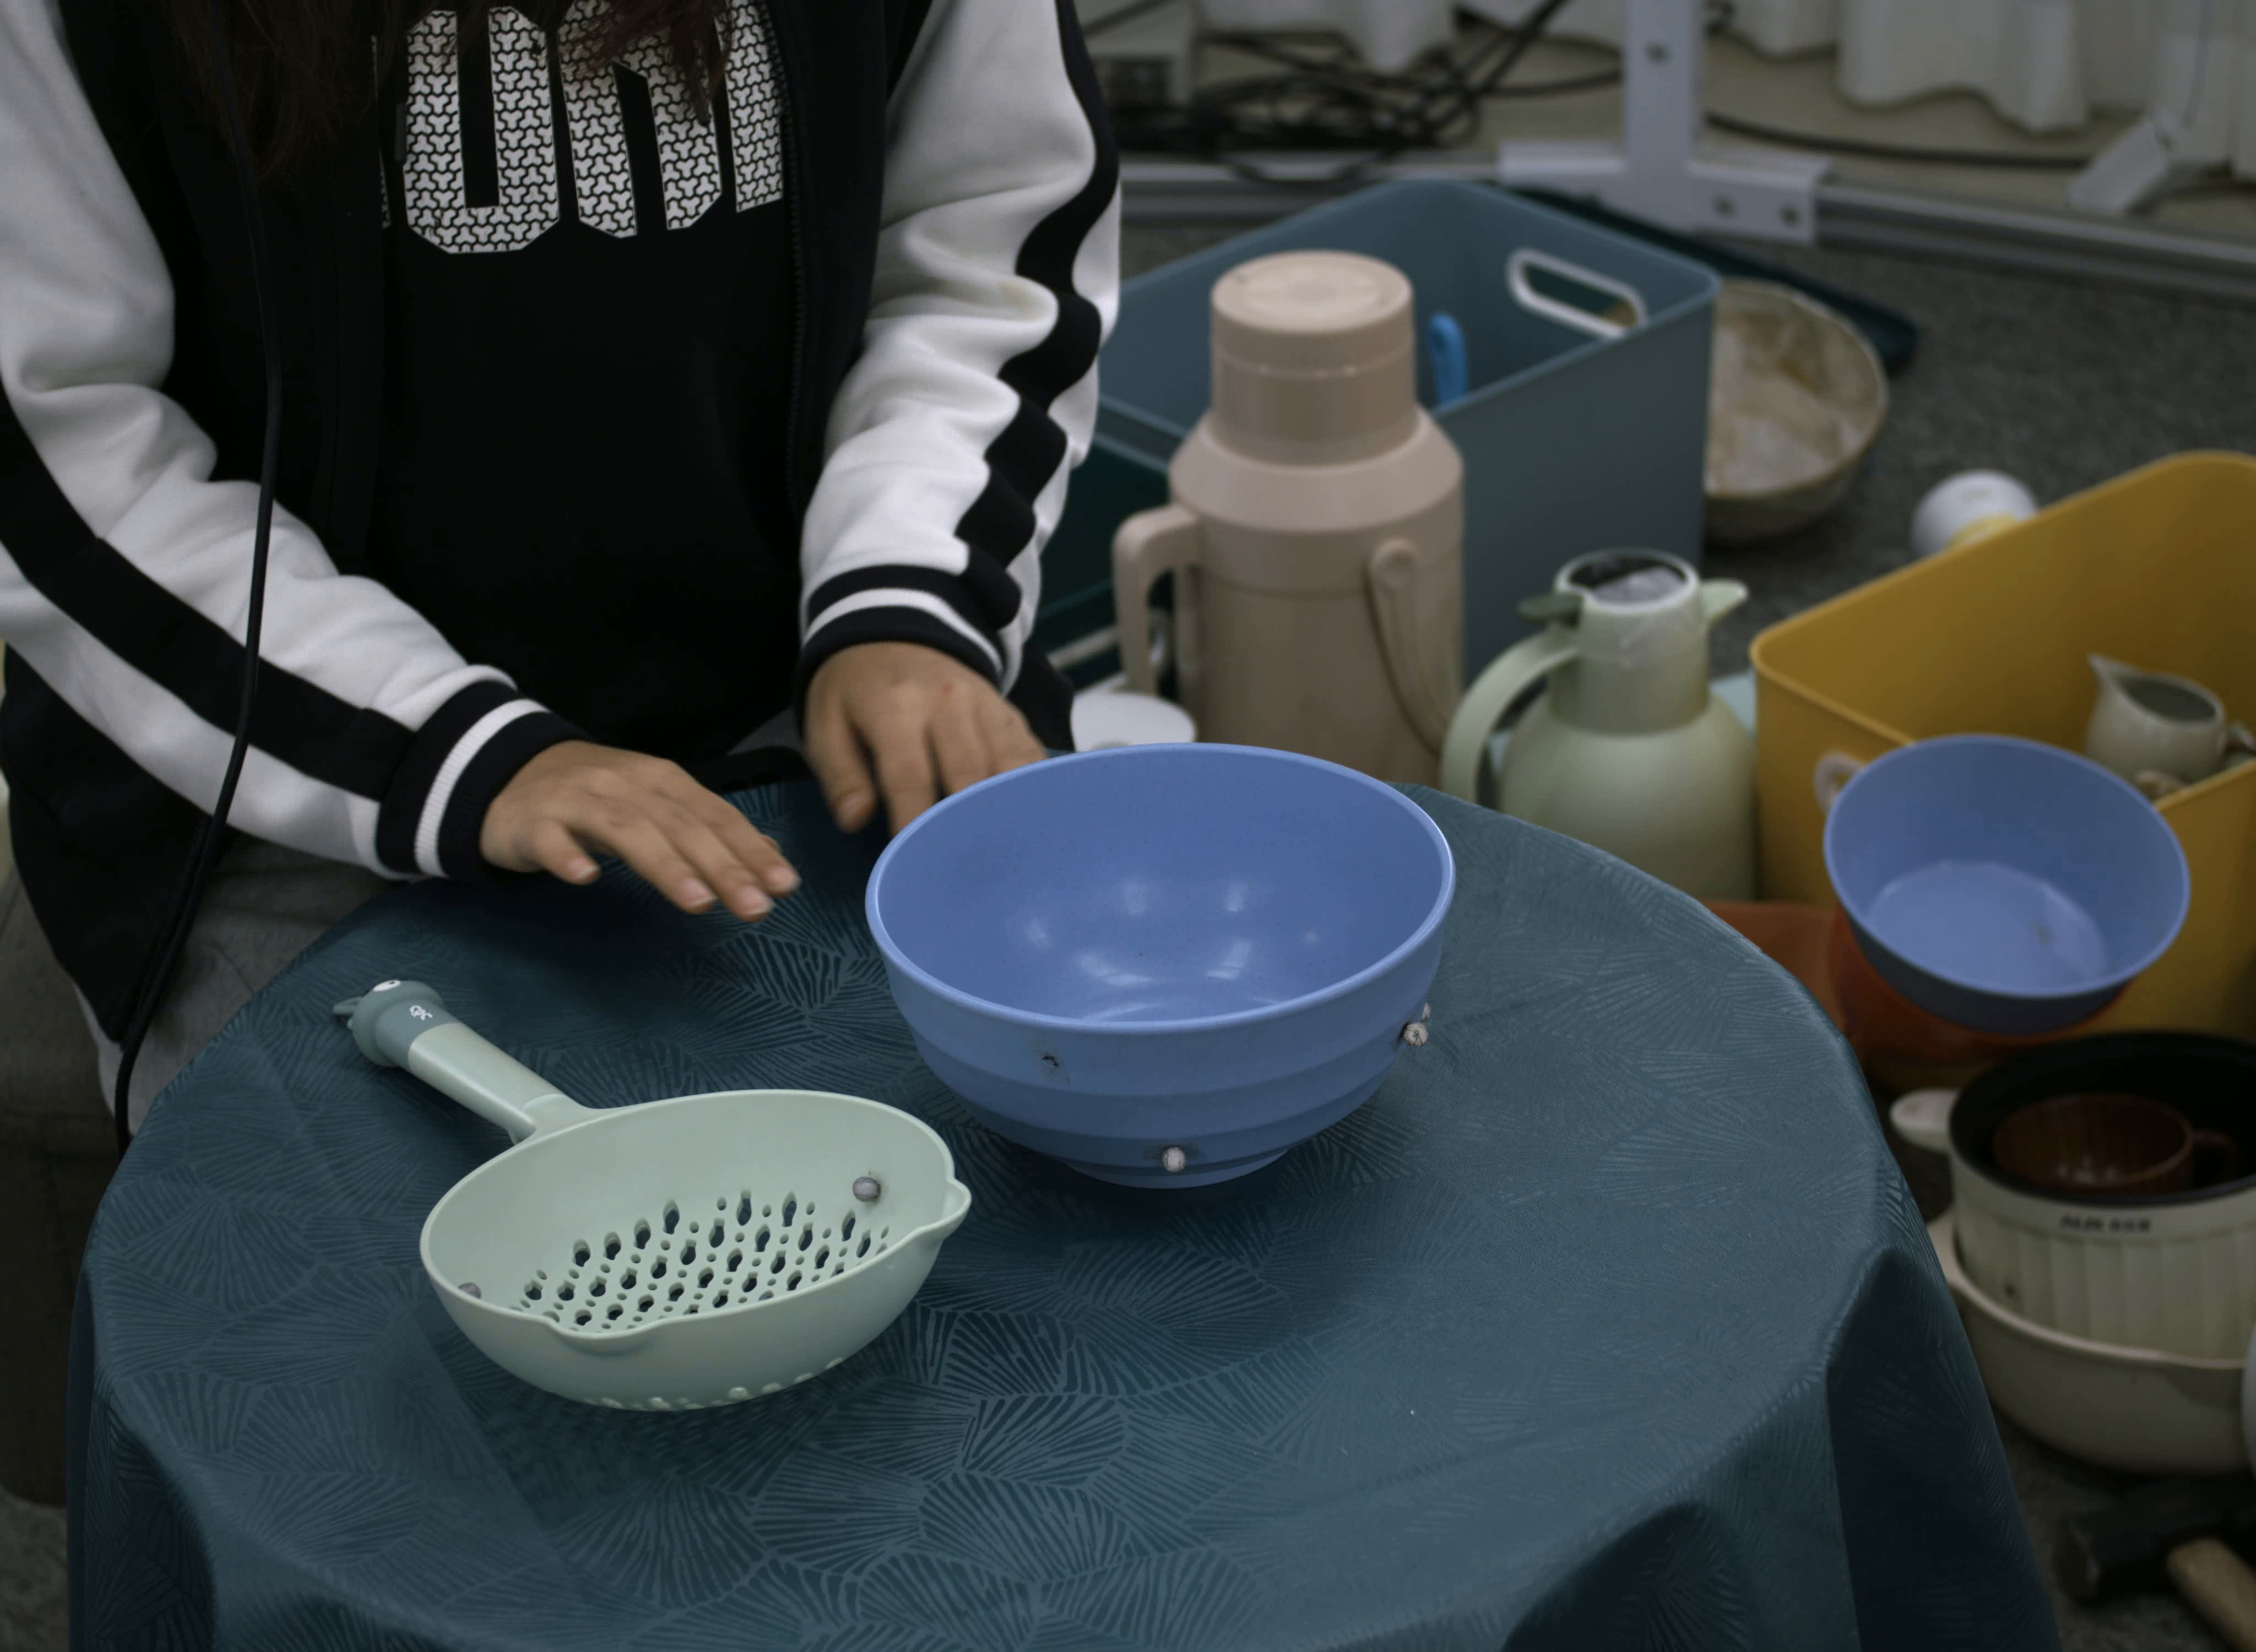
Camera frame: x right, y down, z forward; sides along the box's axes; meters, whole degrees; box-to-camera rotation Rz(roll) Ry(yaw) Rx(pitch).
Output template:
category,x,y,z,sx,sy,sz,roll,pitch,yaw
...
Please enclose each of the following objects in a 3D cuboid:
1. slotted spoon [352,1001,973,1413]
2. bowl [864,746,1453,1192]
category,x,y,z,sx,sy,sz,roll,pitch,yaw
slotted spoon,-0.184,0.108,1.844,0.170,0.074,0.360,-17,29,-26
bowl,0.013,0.059,1.881,0.195,0.094,0.199,-3,27,2
